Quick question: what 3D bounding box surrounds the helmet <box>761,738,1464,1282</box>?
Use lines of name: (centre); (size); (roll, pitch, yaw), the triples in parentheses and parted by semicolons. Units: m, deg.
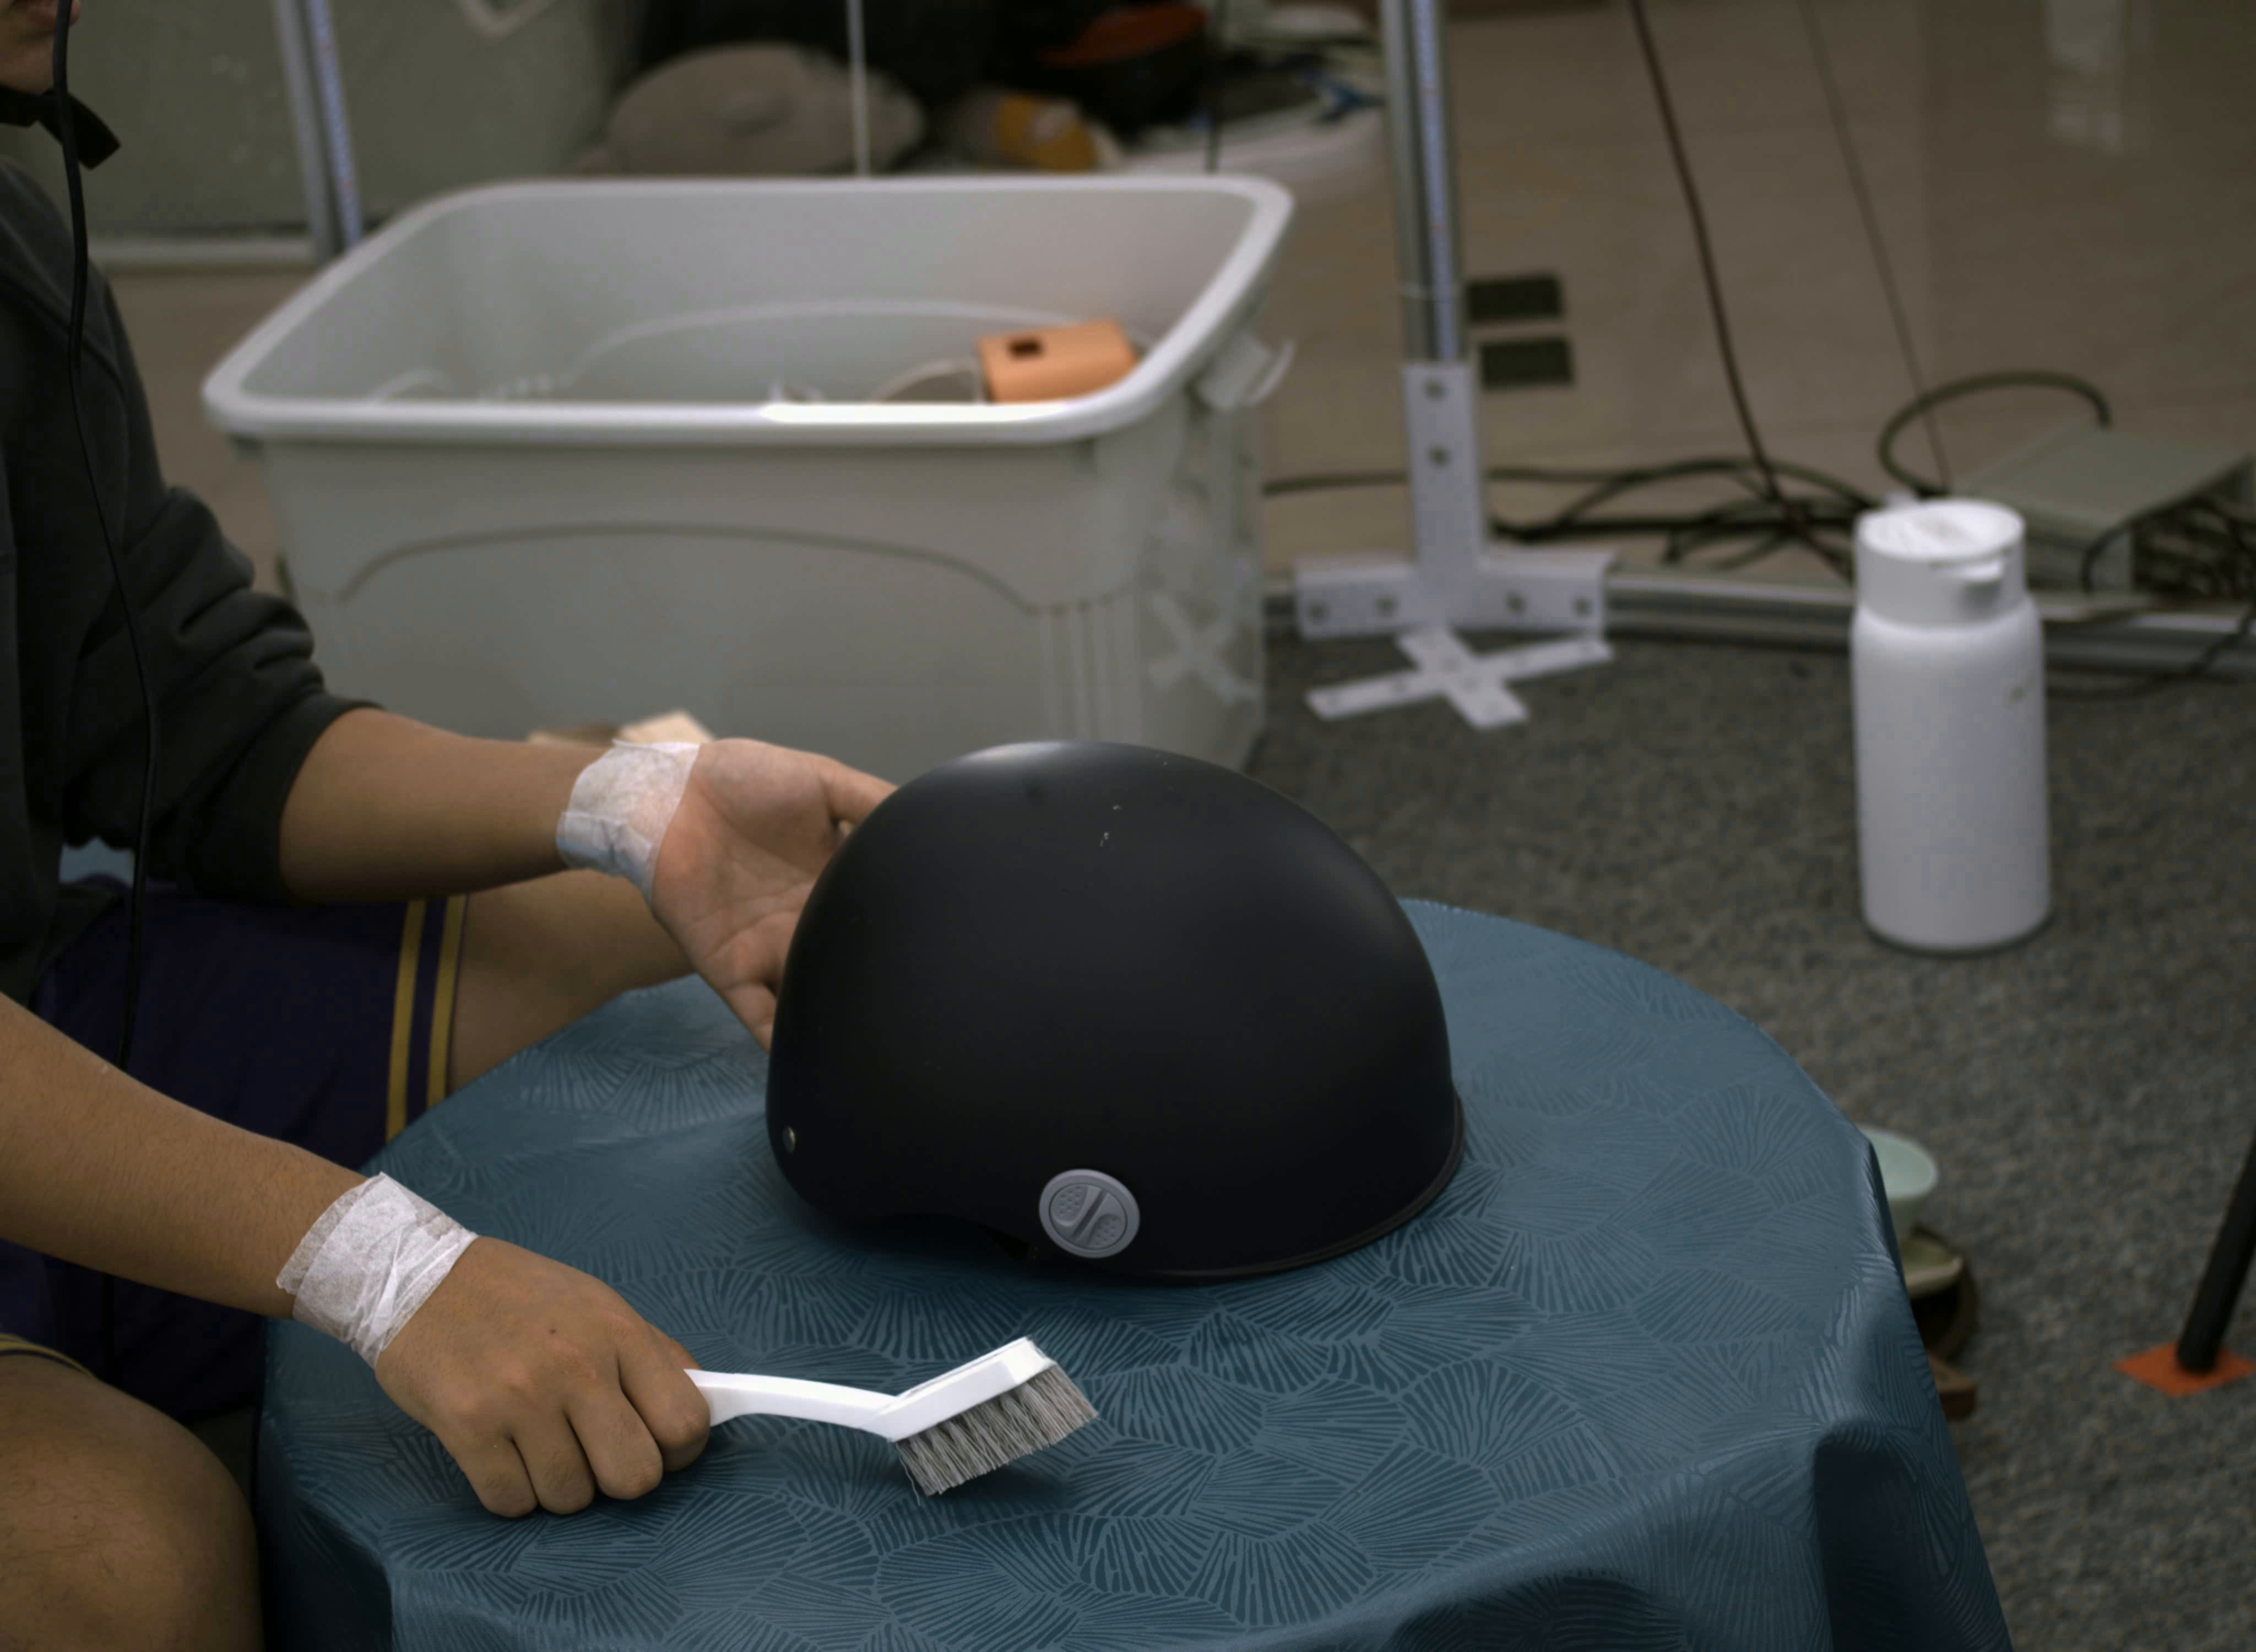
helmet: (-0.011, 0.056, 2.139); (0.272, 0.170, 0.227); (9, 33, 25)

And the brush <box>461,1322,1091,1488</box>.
brush: (-0.126, 0.212, 1.993); (0.244, 0.050, 0.034); (-10, 9, 26)
